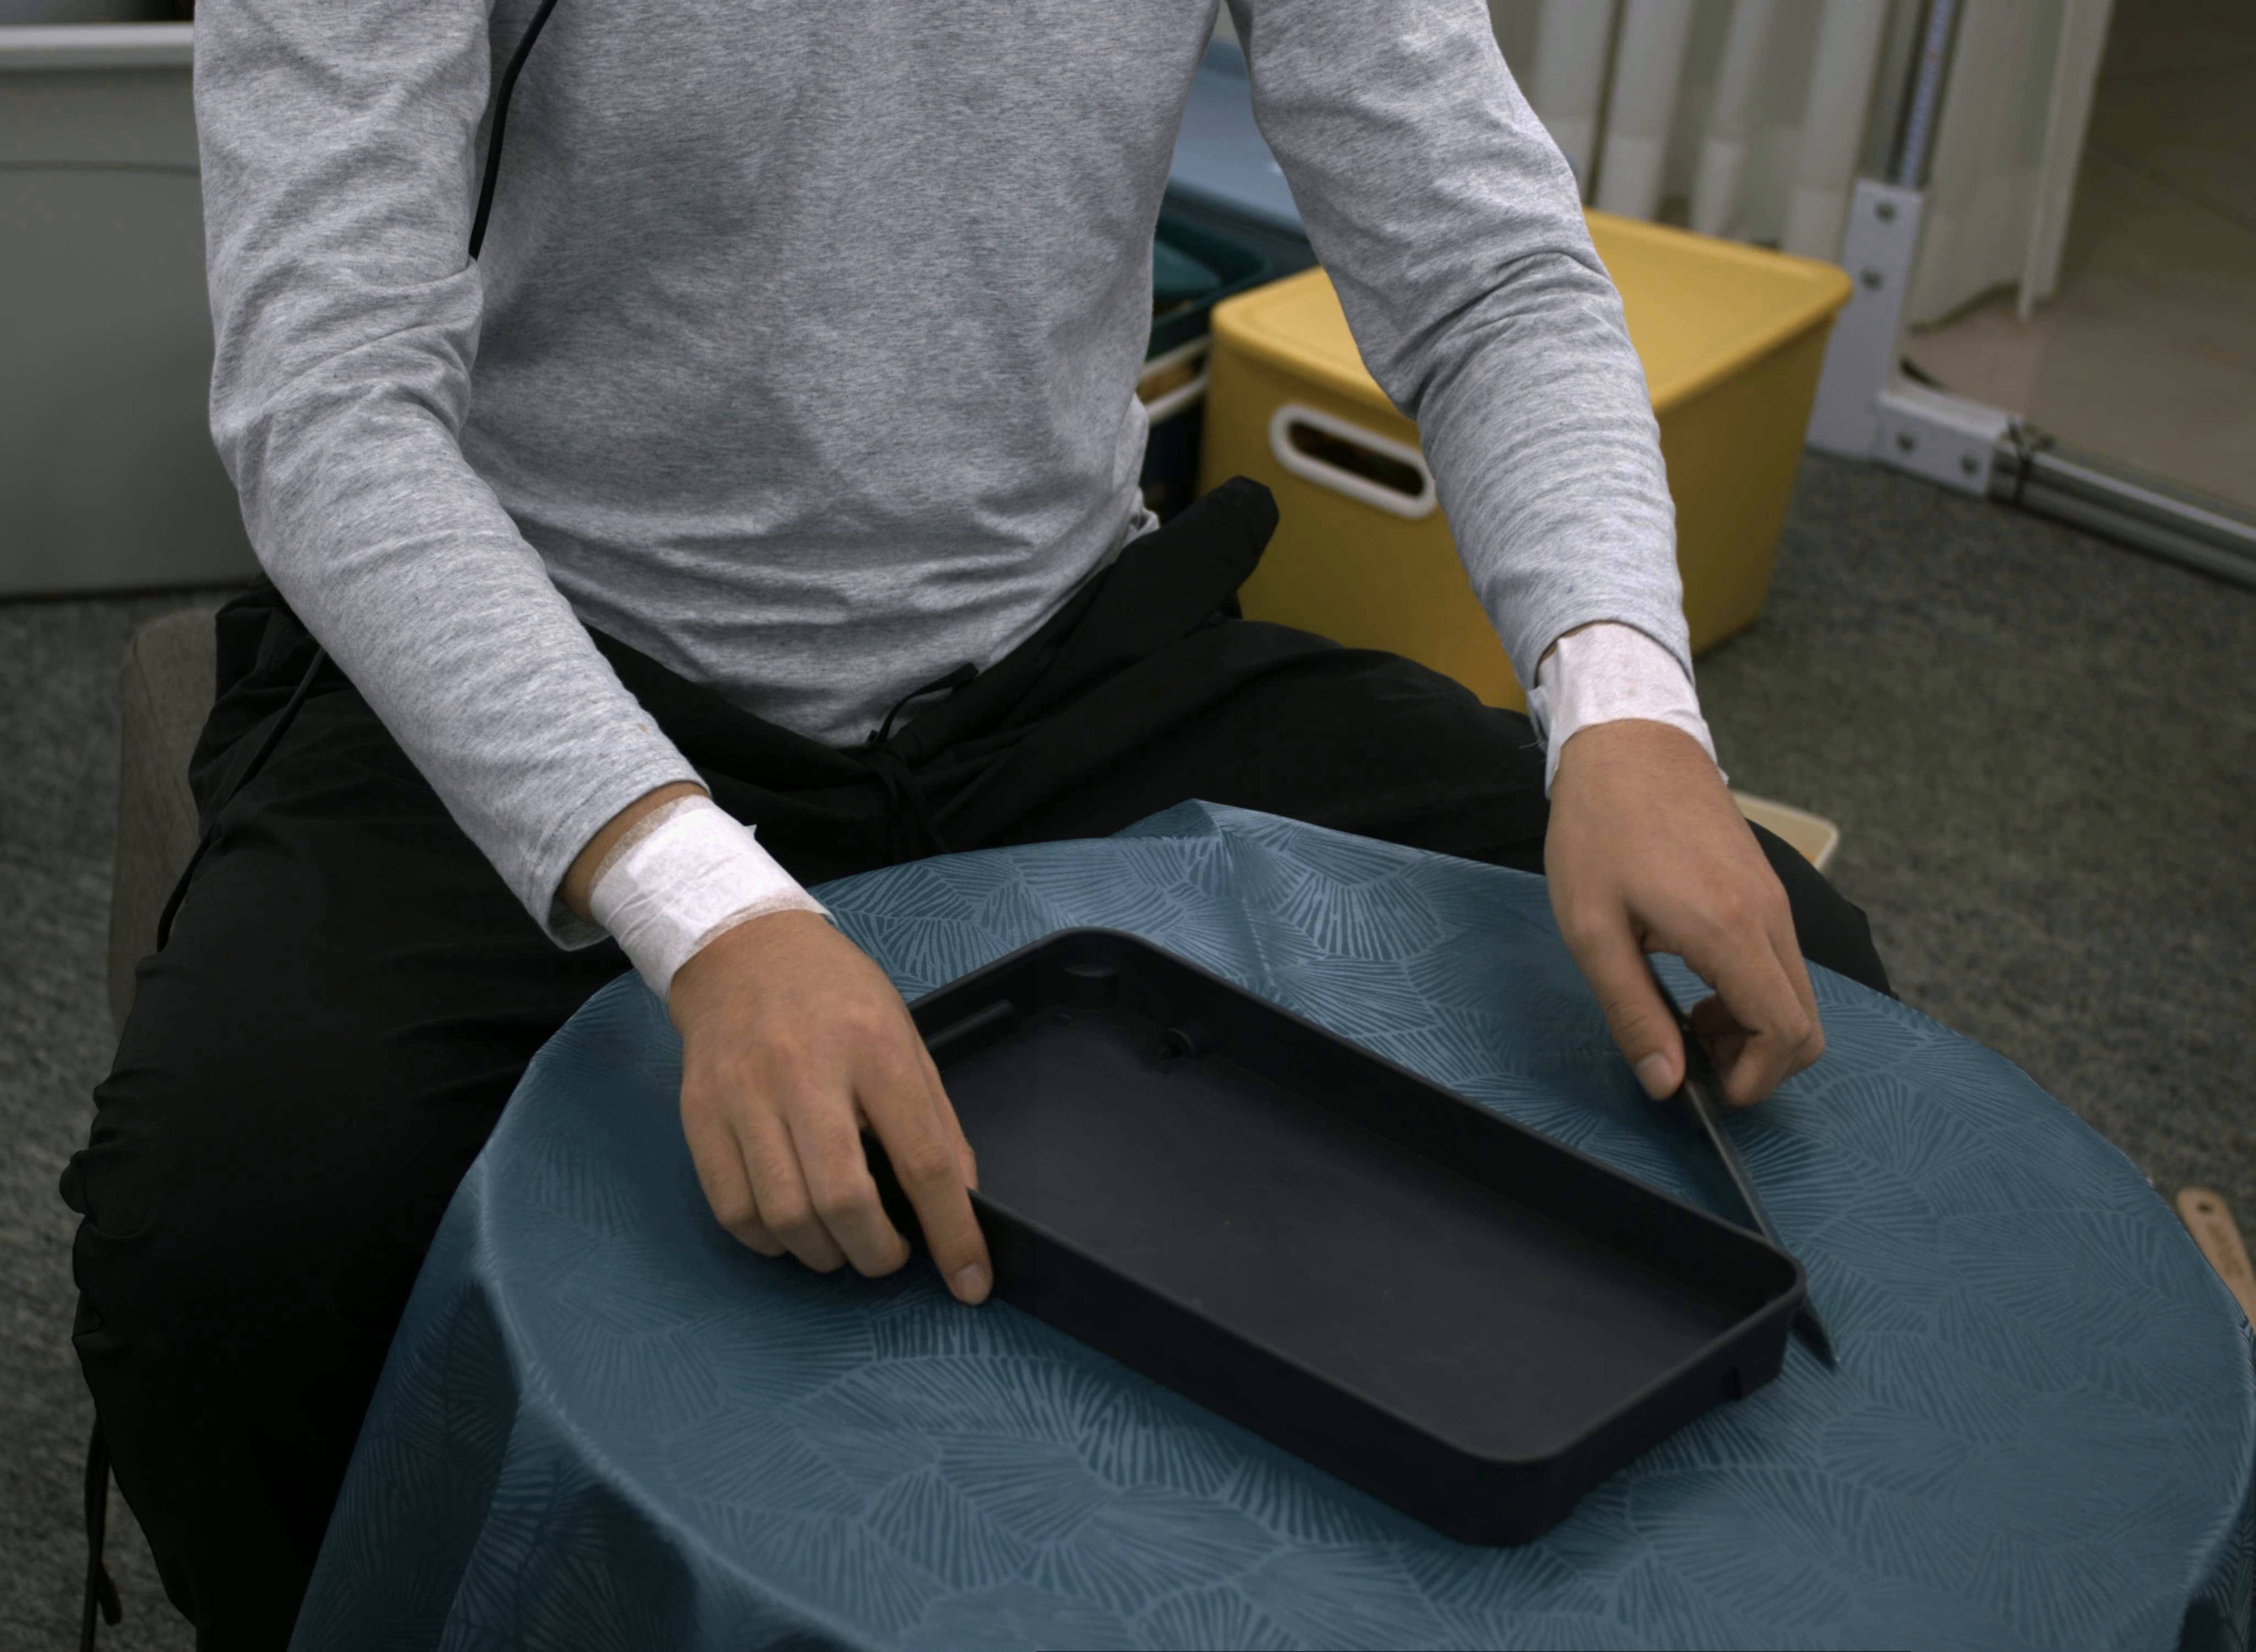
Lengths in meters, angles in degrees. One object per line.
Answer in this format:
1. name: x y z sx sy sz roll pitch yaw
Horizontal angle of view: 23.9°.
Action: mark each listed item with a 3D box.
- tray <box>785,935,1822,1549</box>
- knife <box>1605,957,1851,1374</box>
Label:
1. tray: 0.054 0.132 1.763 0.320 0.037 0.183 24 31 31
2. knife: 0.207 0.114 1.844 0.024 0.016 0.240 38 16 -32
